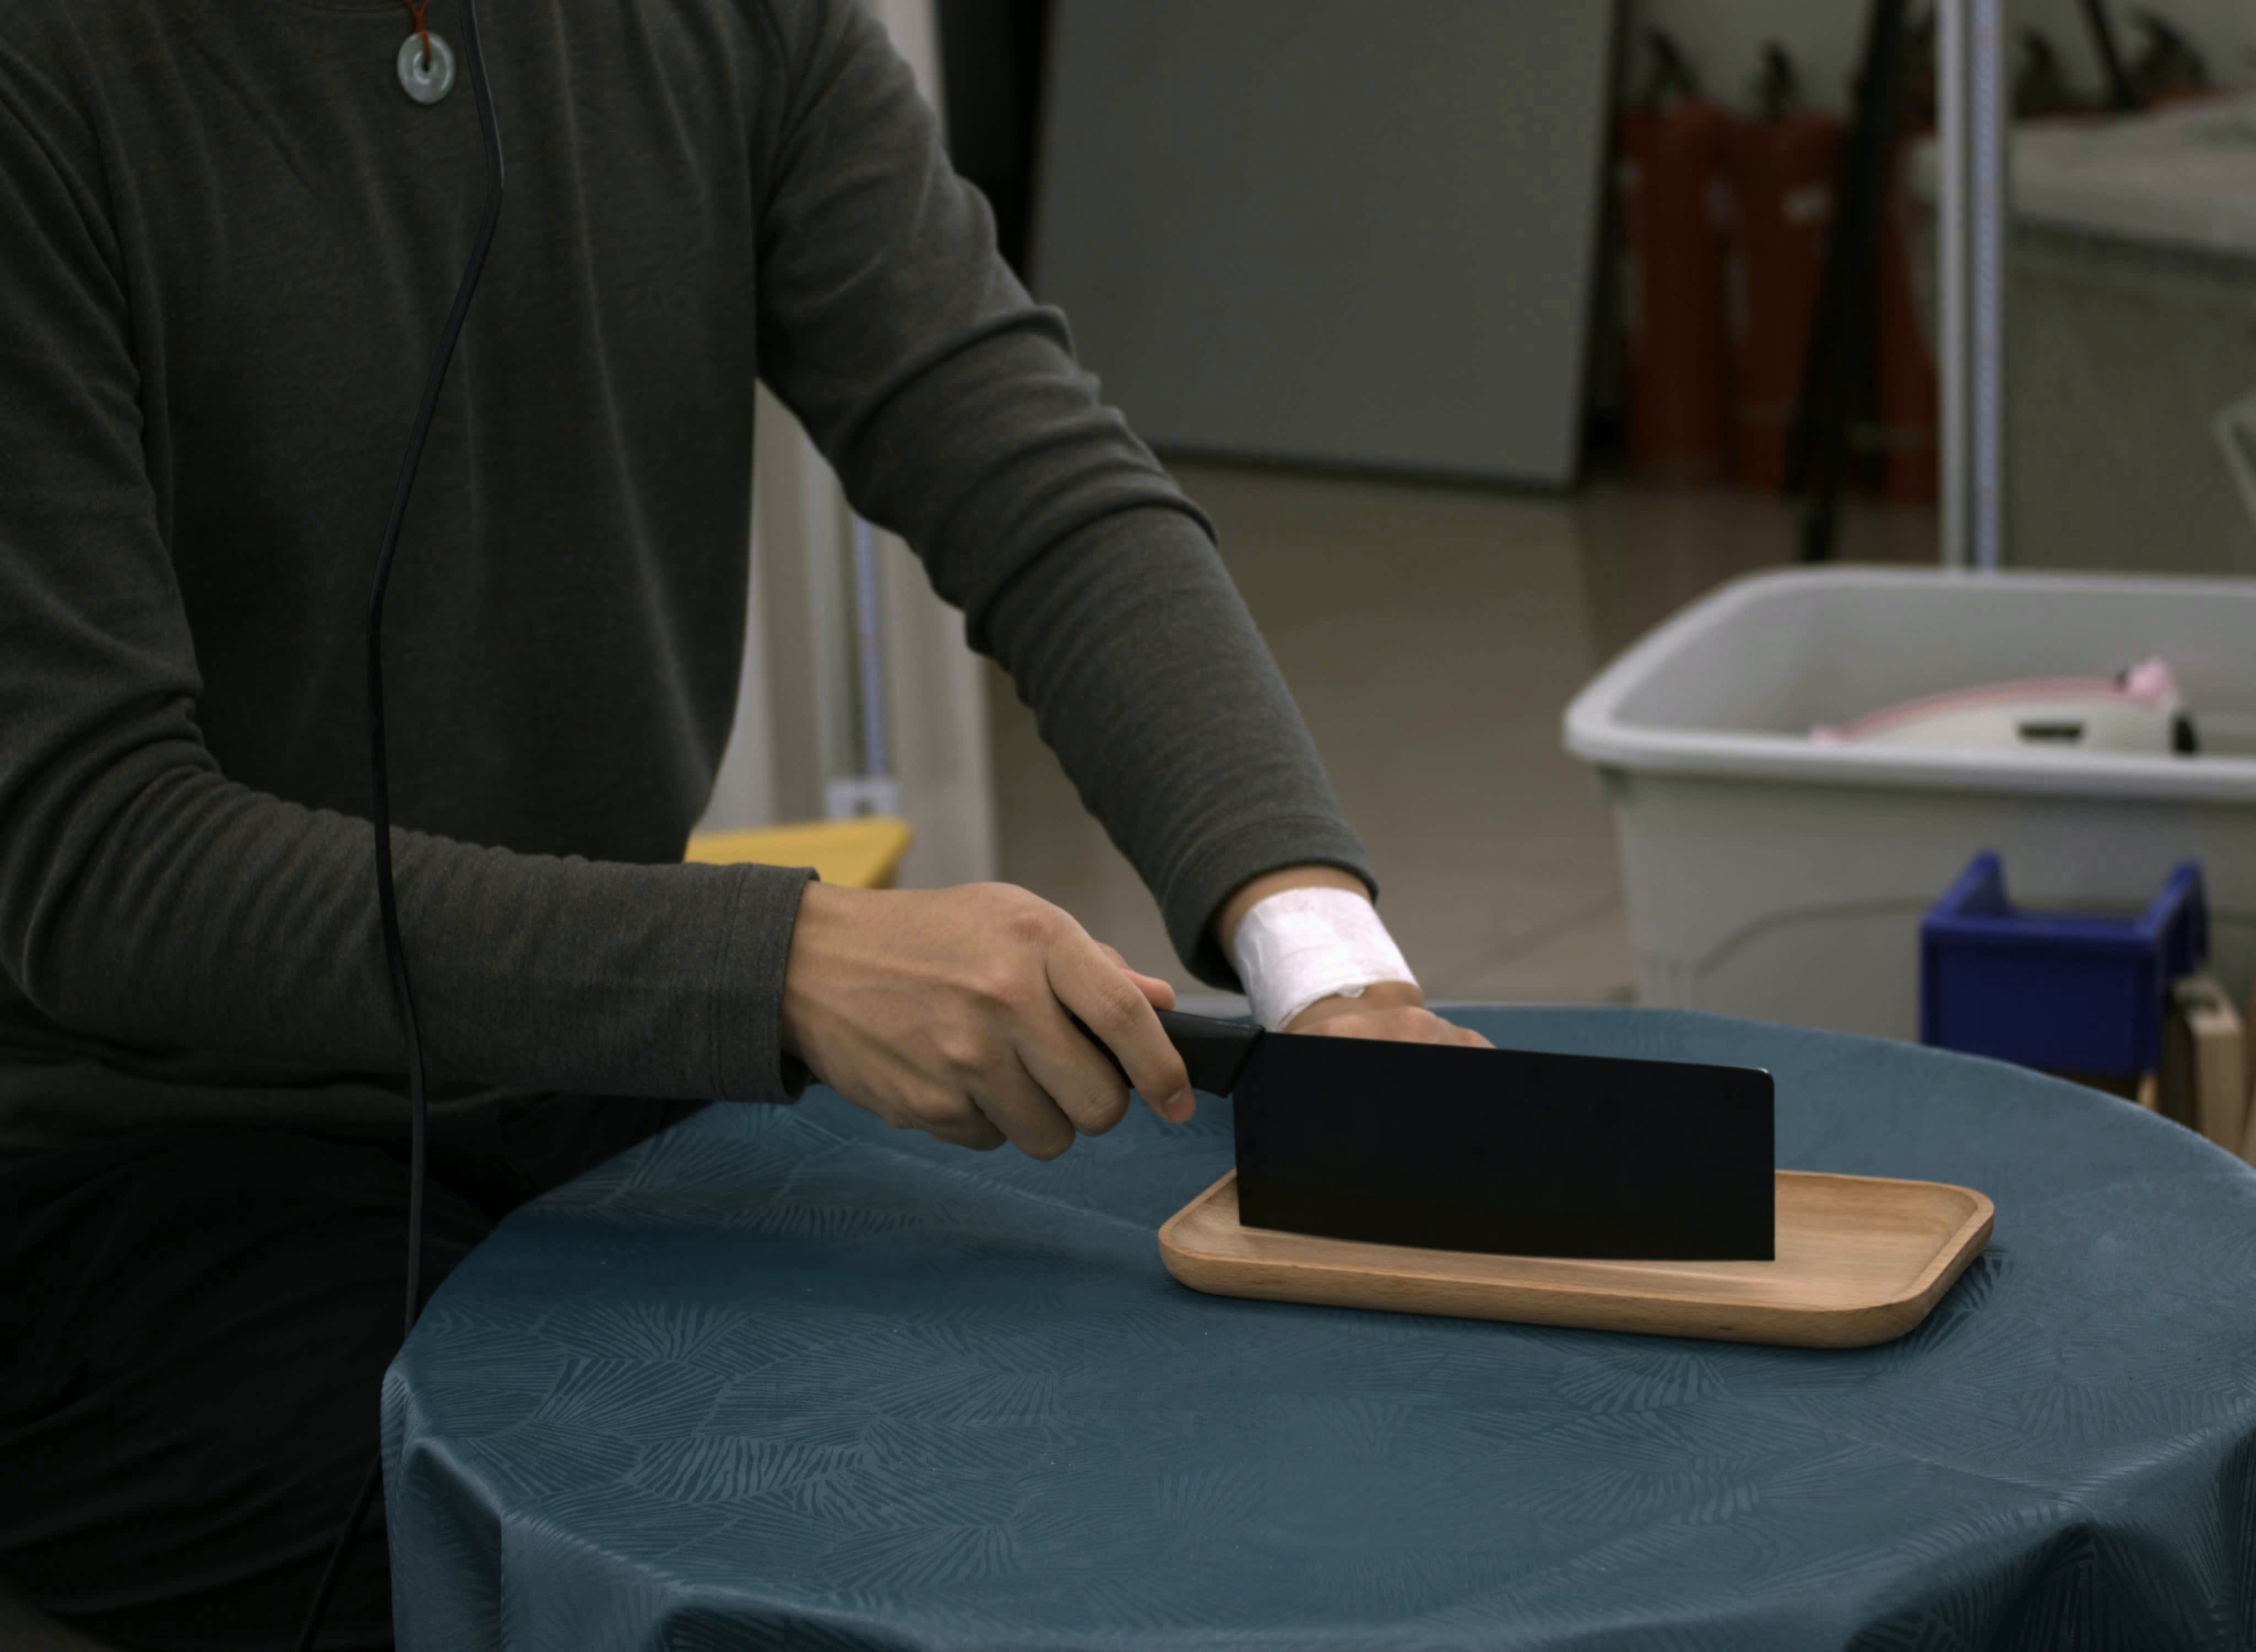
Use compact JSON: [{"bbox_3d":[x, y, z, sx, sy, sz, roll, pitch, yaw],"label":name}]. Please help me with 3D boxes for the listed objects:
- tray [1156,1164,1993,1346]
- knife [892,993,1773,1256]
[{"bbox_3d":[0.138,0.128,1.671,0.251,0.023,0.129,1,12,27],"label":"tray"},{"bbox_3d":[0.060,0.091,1.678,0.303,0.082,0.020,8,13,26],"label":"knife"}]
